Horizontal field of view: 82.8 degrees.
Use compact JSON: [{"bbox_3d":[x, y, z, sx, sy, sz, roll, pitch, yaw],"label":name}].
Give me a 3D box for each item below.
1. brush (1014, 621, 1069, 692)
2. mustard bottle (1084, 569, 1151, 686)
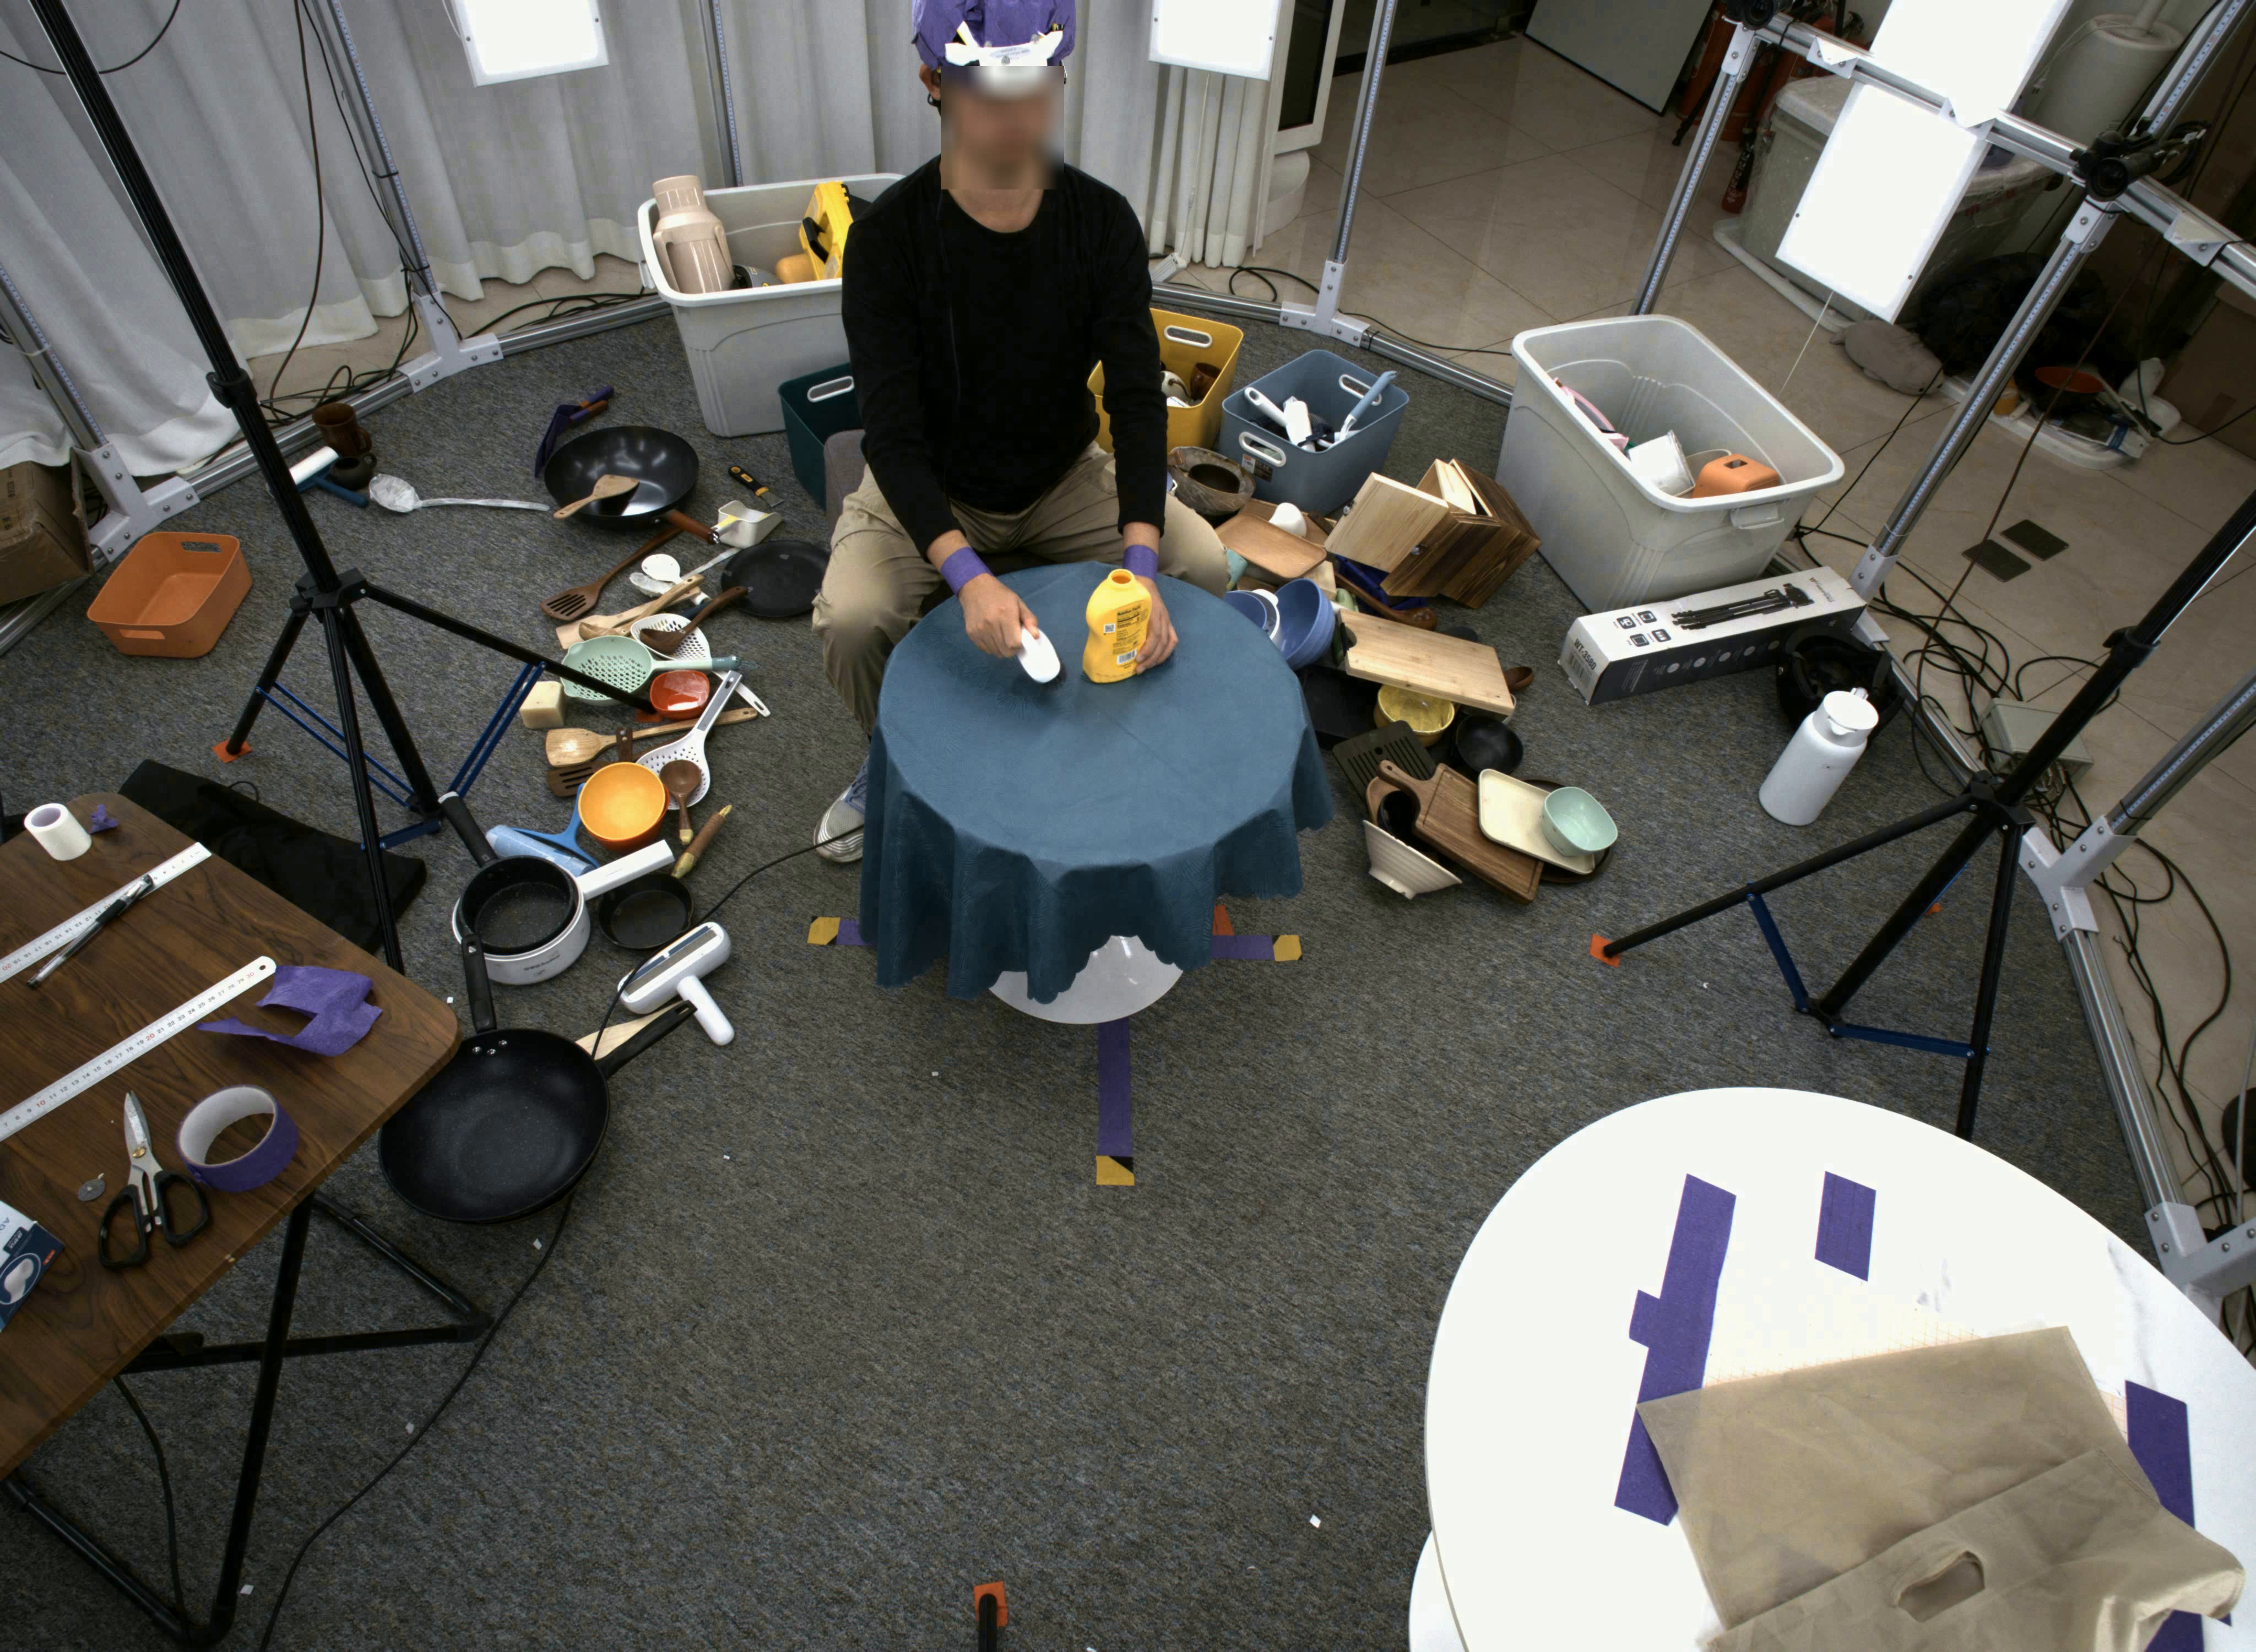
[{"bbox_3d":[-0.127,-0.242,1.780,0.050,0.071,0.101,-31,57,9],"label":"brush"},{"bbox_3d":[-0.015,-0.280,1.800,0.098,0.168,0.060,-25,51,-22],"label":"mustard bottle"}]
